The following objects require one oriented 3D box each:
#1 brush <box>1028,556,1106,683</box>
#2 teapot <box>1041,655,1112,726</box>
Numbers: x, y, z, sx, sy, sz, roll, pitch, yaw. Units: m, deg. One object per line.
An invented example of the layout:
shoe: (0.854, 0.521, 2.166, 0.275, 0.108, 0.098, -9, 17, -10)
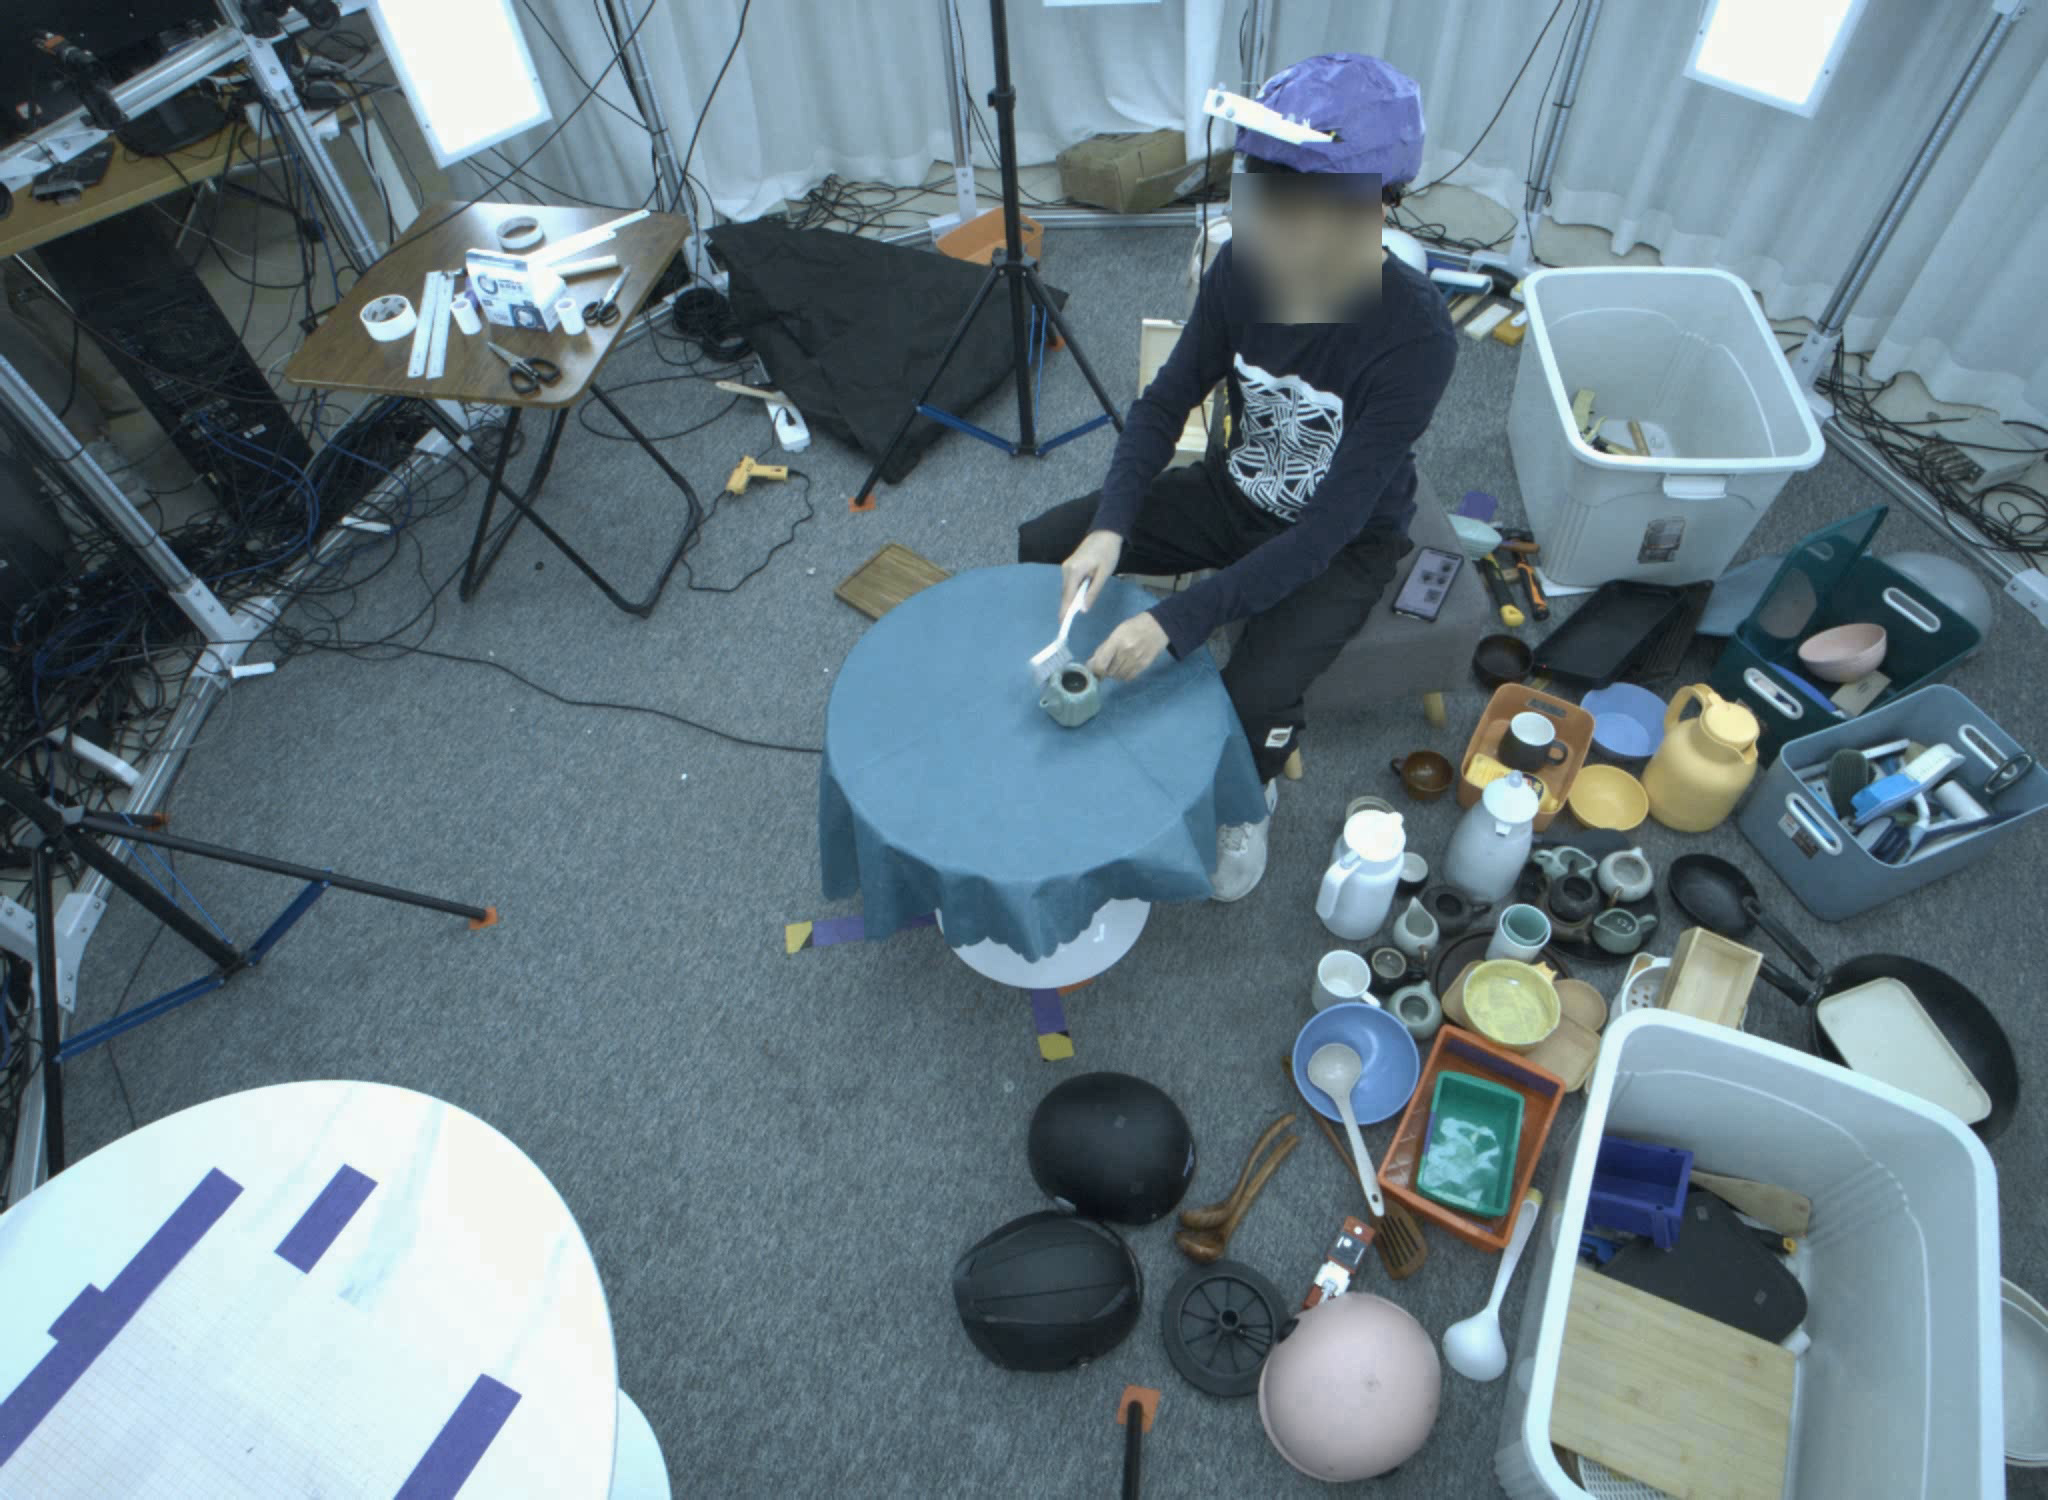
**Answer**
brush: (0.080, -0.196, 1.836, 0.050, 0.034, 0.244, 32, 62, 2)
teapot: (0.073, -0.085, 1.789, 0.133, 0.075, 0.079, -37, 71, -21)
